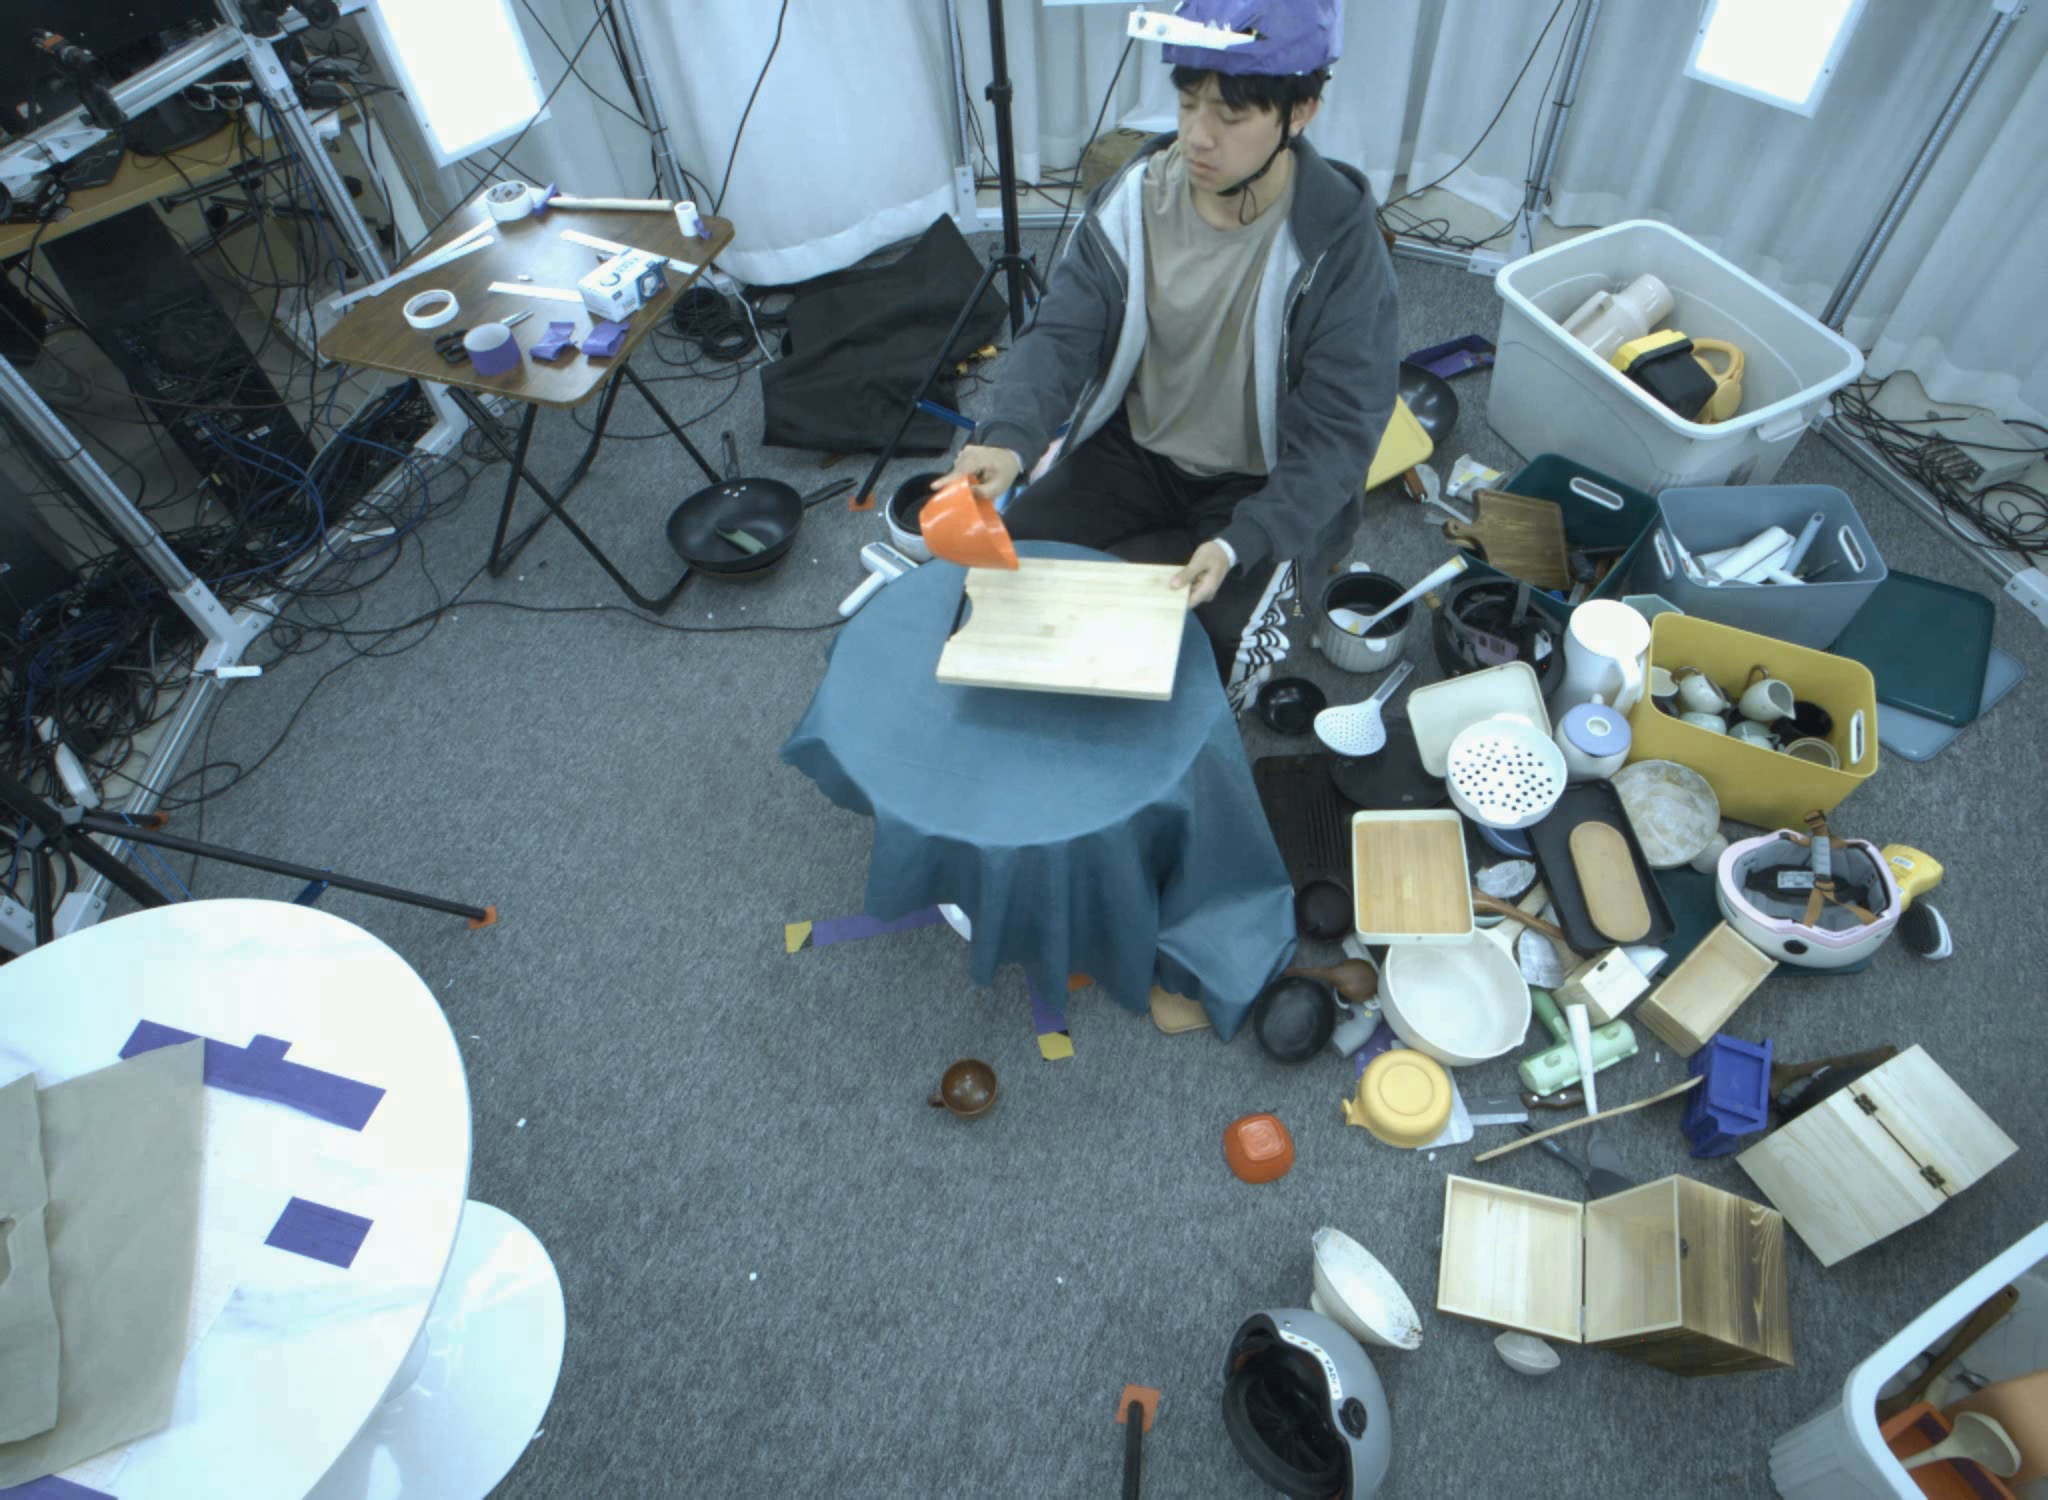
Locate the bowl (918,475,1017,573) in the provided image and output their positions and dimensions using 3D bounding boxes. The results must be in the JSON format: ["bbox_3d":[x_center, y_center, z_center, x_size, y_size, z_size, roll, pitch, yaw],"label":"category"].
[{"bbox_3d":[-0.084,-0.298,1.671,0.104,0.151,0.146,-15,54,13],"label":"bowl"}]

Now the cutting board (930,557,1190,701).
[{"bbox_3d":[0.056,-0.185,1.804,0.346,0.024,0.249,5,56,12],"label":"cutting board"}]
